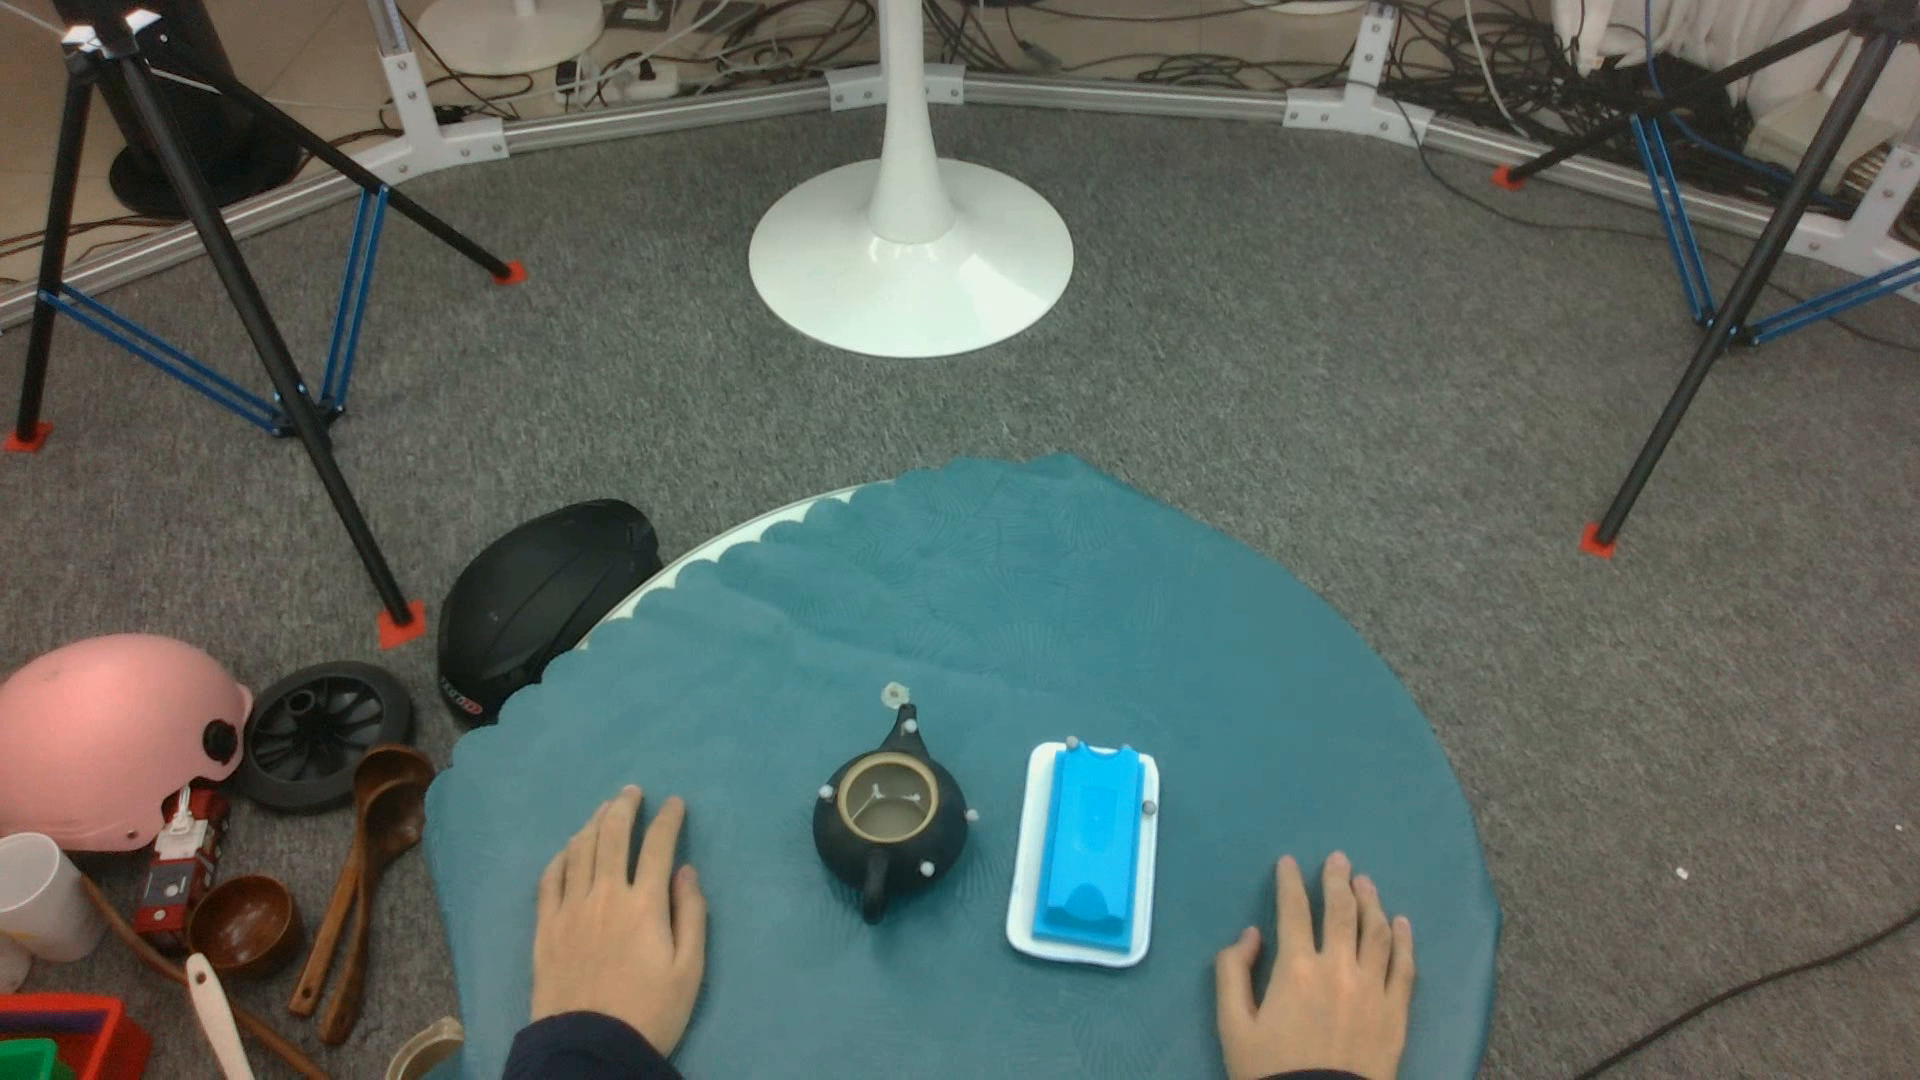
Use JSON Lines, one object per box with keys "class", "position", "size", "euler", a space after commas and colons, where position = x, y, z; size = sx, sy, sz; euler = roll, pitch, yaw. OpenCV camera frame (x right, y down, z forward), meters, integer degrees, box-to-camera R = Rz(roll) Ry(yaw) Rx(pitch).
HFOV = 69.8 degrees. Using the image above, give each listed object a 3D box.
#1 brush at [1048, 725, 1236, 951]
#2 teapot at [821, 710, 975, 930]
{"class": "brush", "position": [0.098, 0.162, 0.788], "size": [0.084, 0.055, 0.144], "euler": [-17, 37, -1]}
{"class": "teapot", "position": [-0.037, 0.167, 0.807], "size": [0.091, 0.053, 0.134], "euler": [6, 48, 6]}
